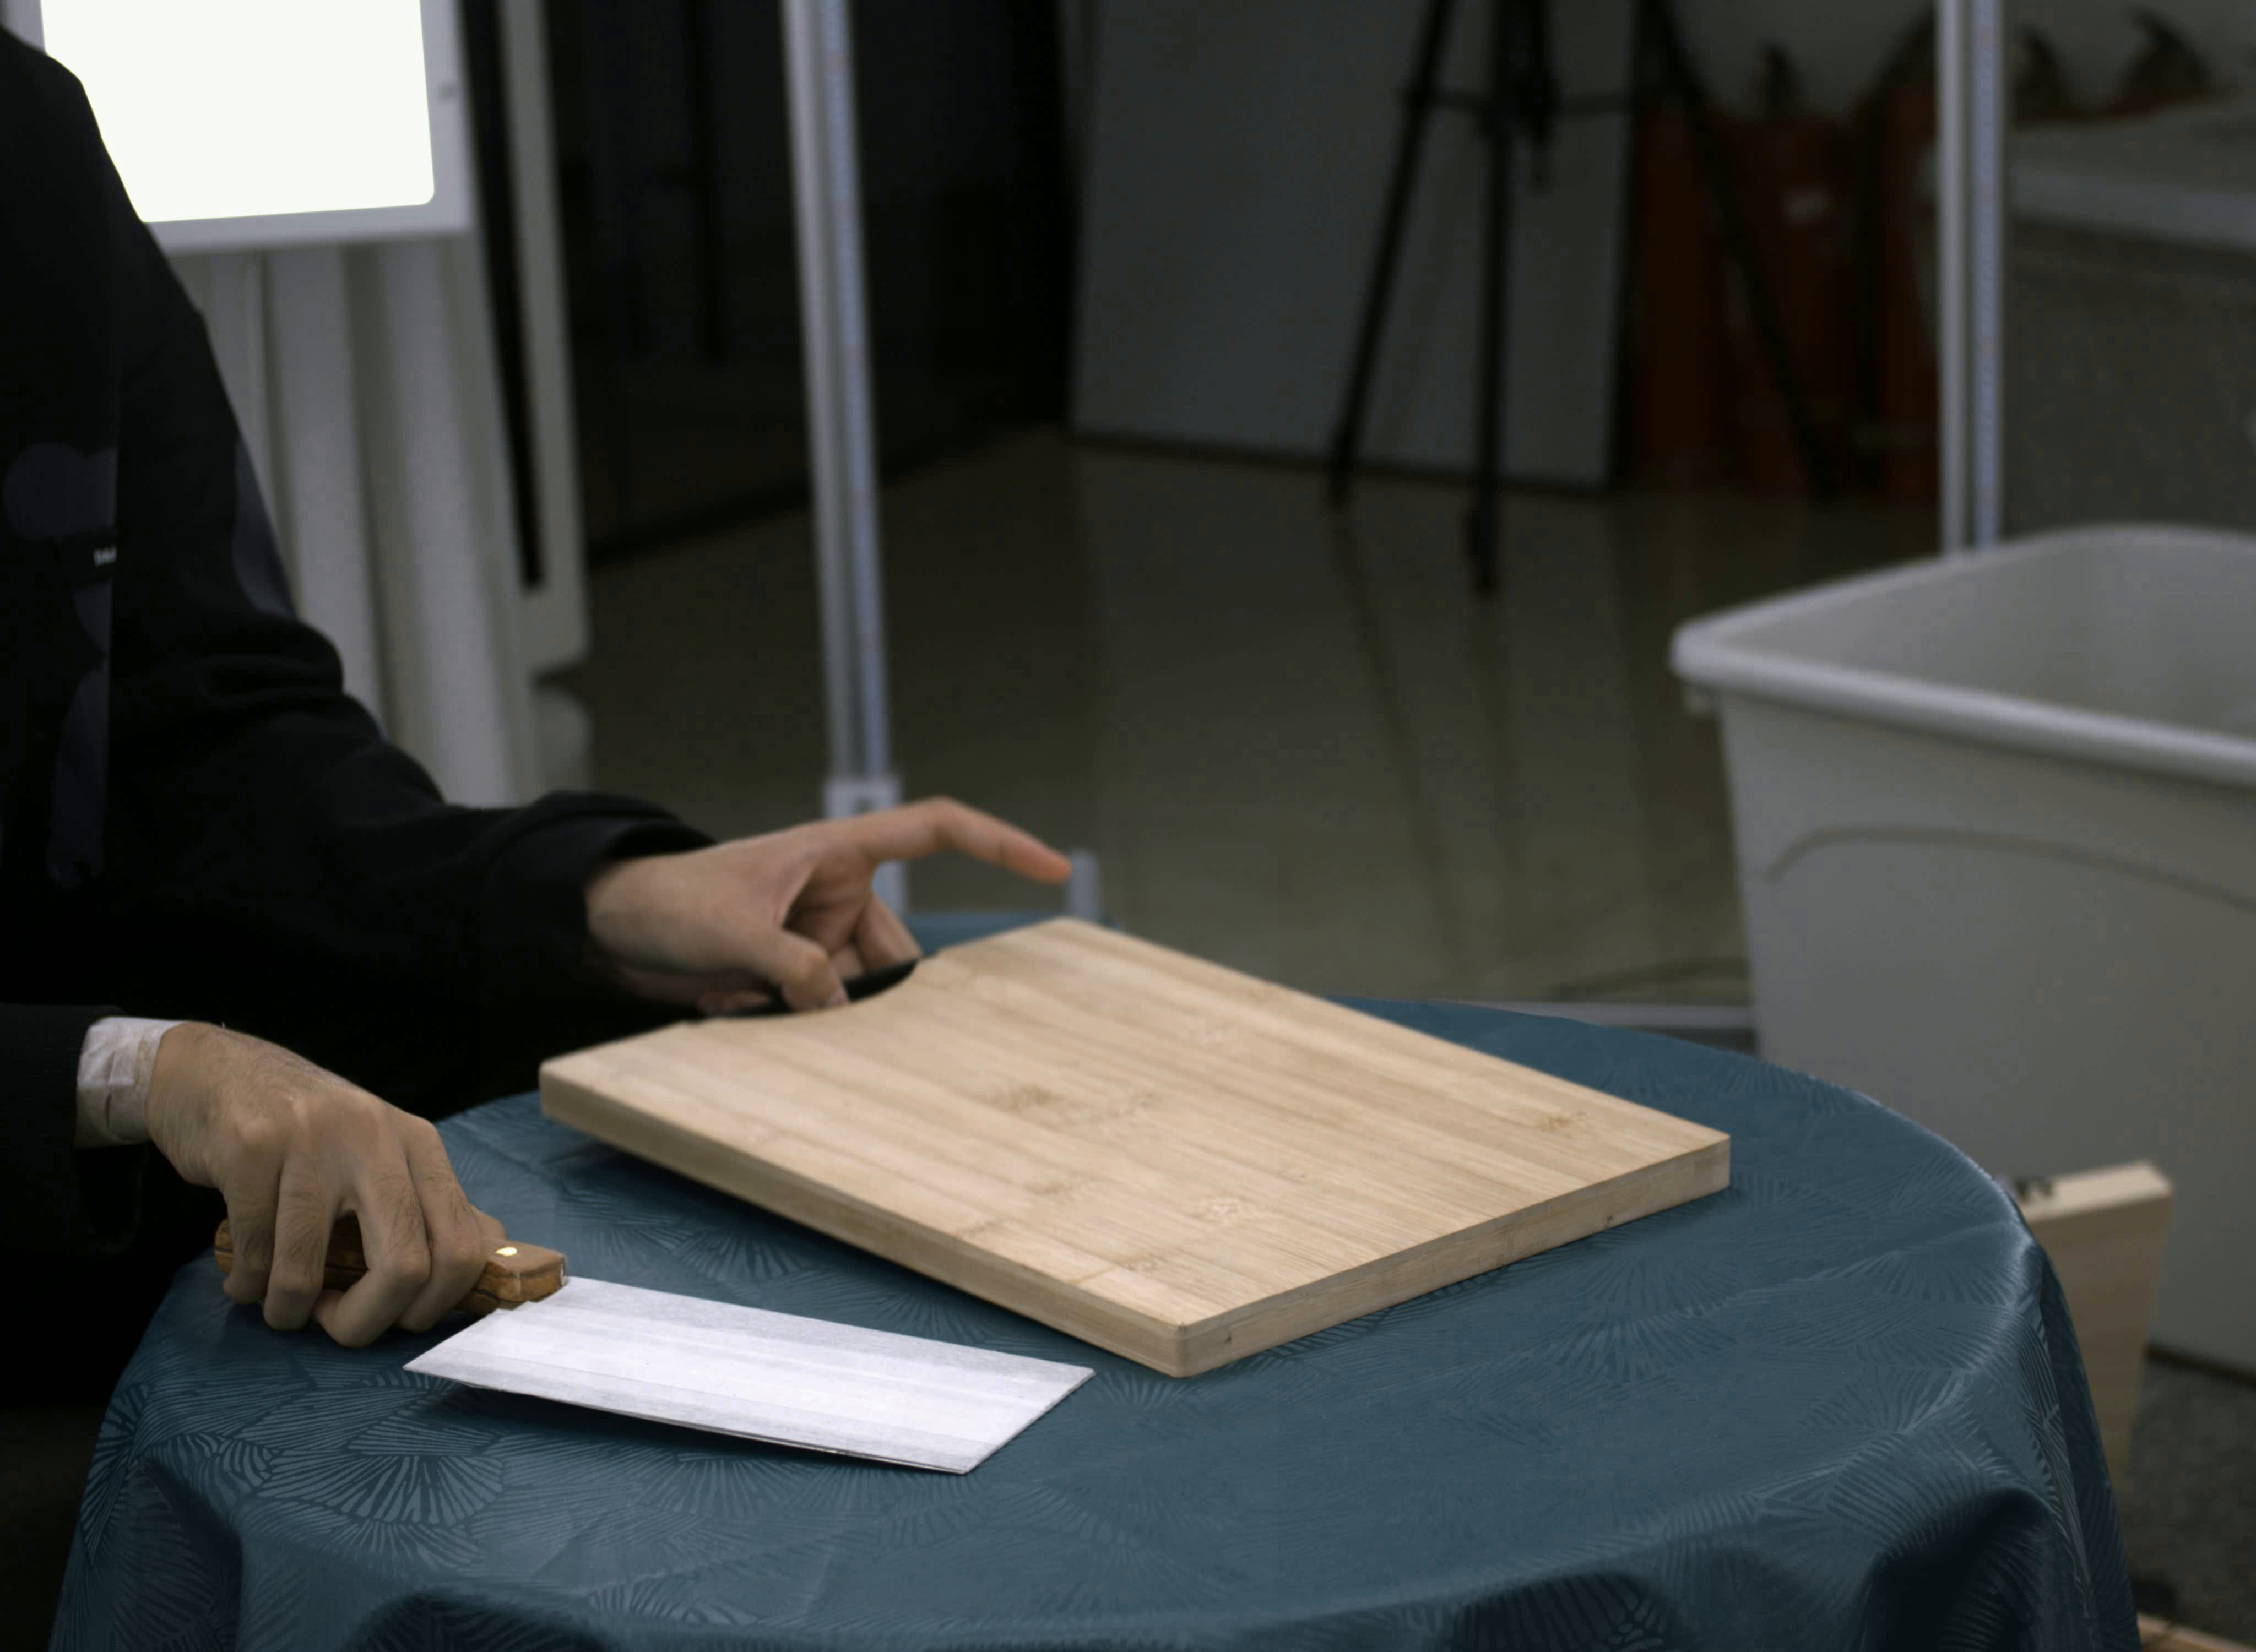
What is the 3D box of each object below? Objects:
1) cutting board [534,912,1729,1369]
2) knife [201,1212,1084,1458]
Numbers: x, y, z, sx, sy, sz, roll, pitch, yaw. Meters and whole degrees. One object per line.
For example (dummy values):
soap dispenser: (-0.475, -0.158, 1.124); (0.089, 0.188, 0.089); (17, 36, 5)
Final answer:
cutting board: (-0.005, 0.098, 1.795); (0.245, 0.024, 0.352); (-15, 20, -38)
knife: (-0.162, 0.156, 1.632); (0.306, 0.021, 0.091); (7, 17, 26)
